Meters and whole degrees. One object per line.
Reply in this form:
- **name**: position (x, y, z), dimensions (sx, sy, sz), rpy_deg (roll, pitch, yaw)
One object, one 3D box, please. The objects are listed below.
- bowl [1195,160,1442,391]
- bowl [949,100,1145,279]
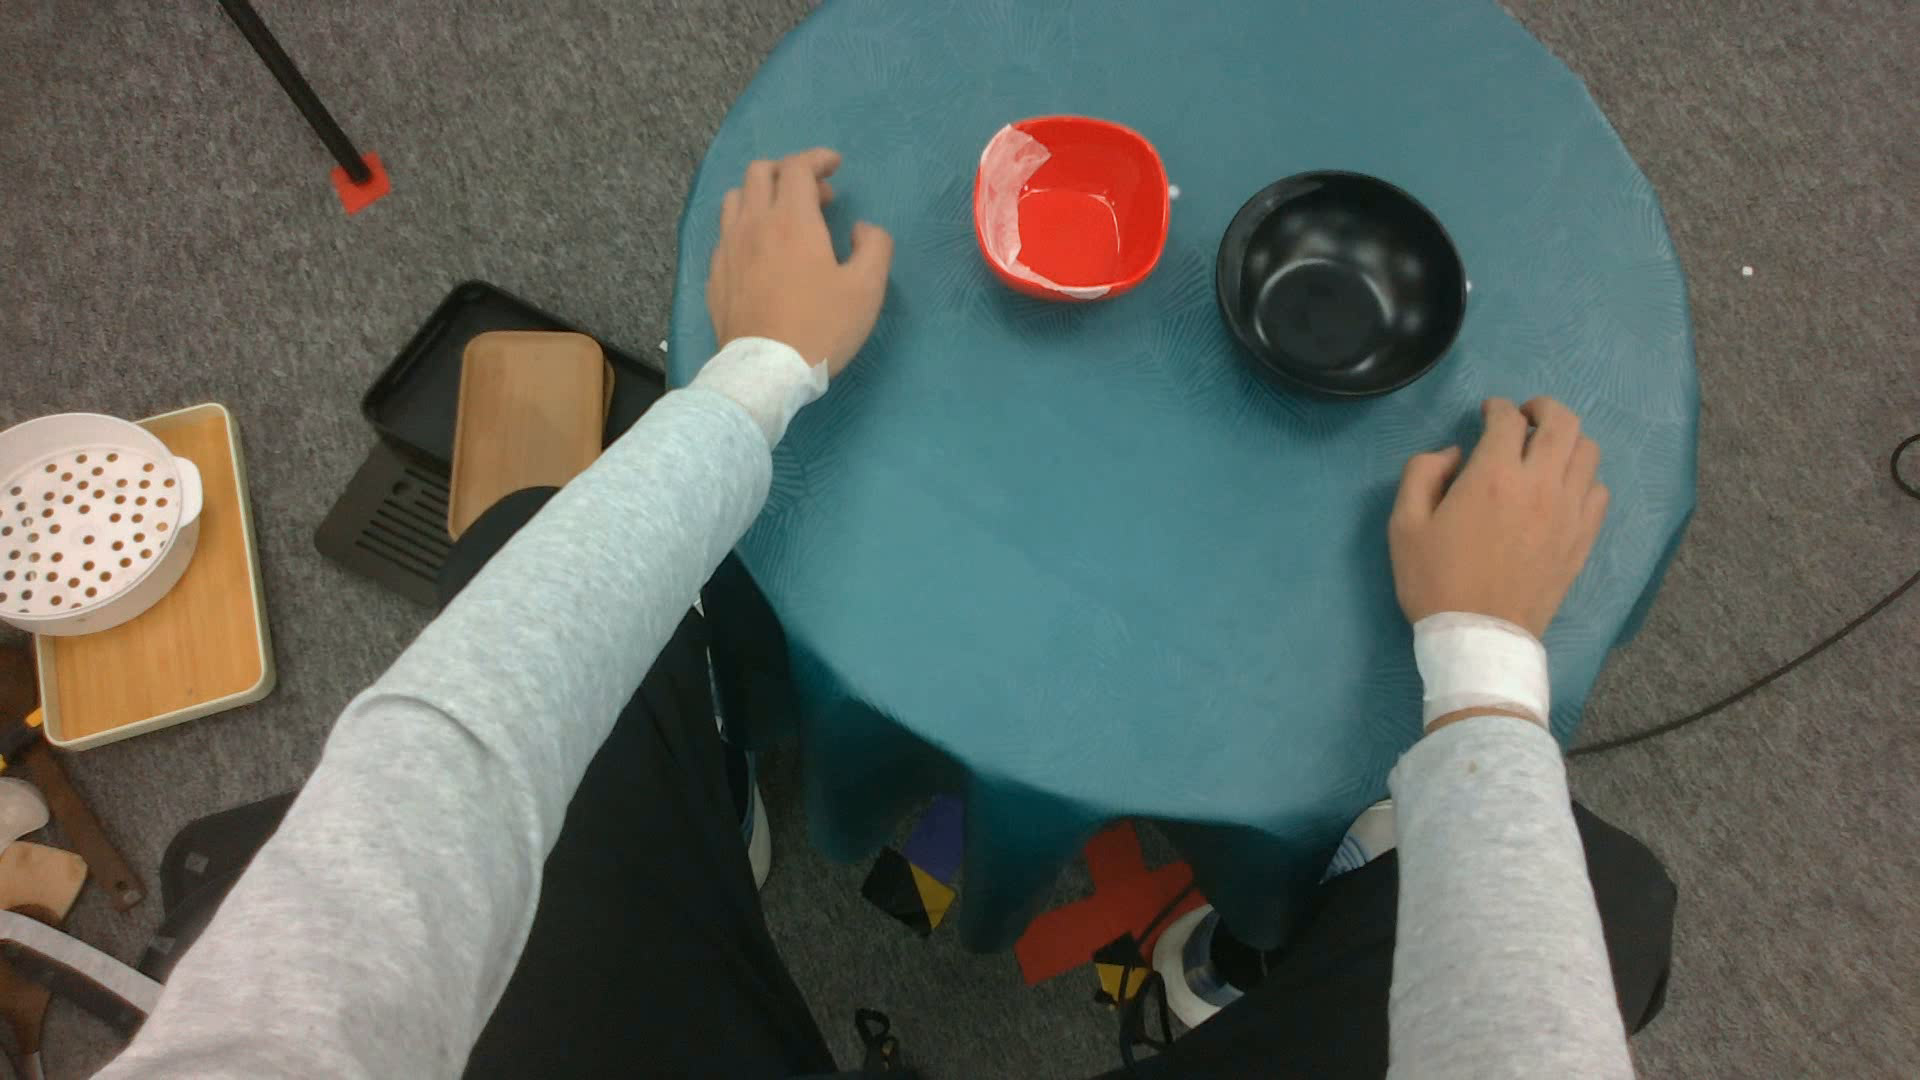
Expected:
- **bowl**: position (0.199, -0.144, 0.789), dimensions (0.140, 0.049, 0.140), rpy_deg (1, 74, -2)
- **bowl**: position (0.047, -0.192, 0.789), dimensions (0.119, 0.051, 0.119), rpy_deg (2, 66, -4)
